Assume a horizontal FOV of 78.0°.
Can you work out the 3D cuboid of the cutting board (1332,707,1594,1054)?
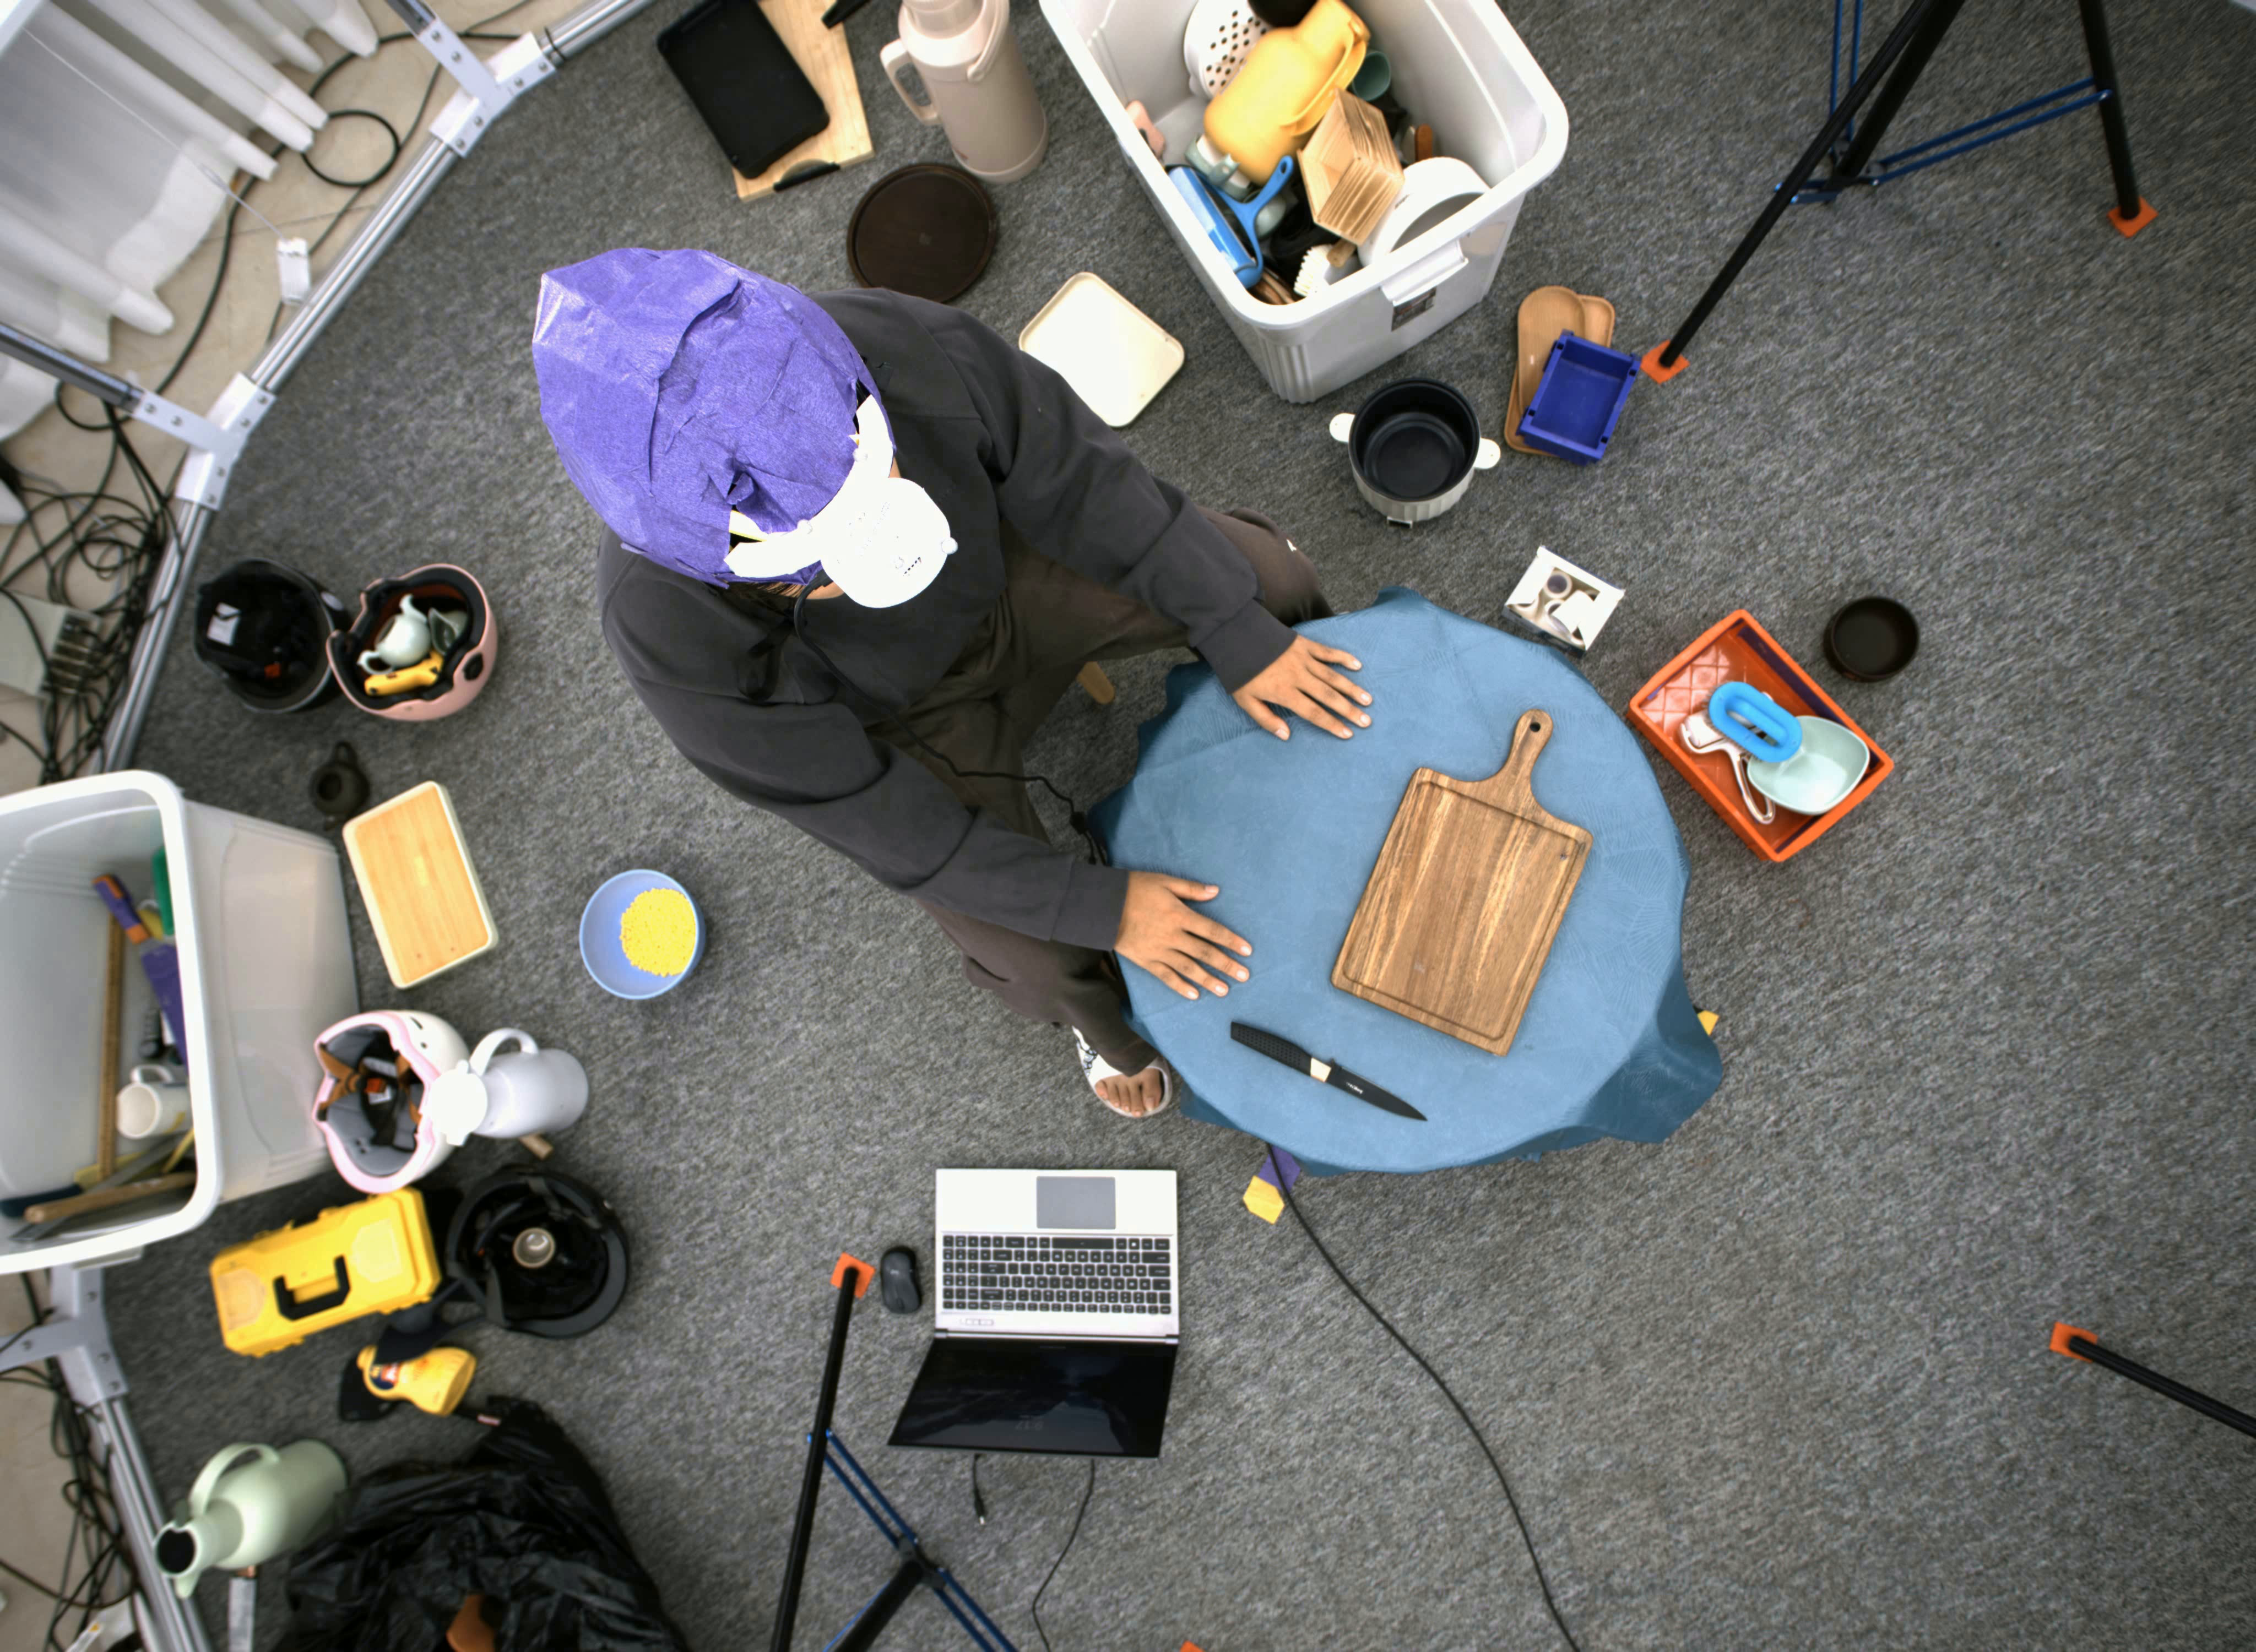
[{"bbox_3d":[0.366,0.039,1.434,0.201,0.023,0.352,22,91,11],"label":"cutting board"}]

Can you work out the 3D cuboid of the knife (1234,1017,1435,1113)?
[{"bbox_3d":[0.216,0.254,1.455,0.225,0.017,0.026,25,85,11],"label":"knife"}]
